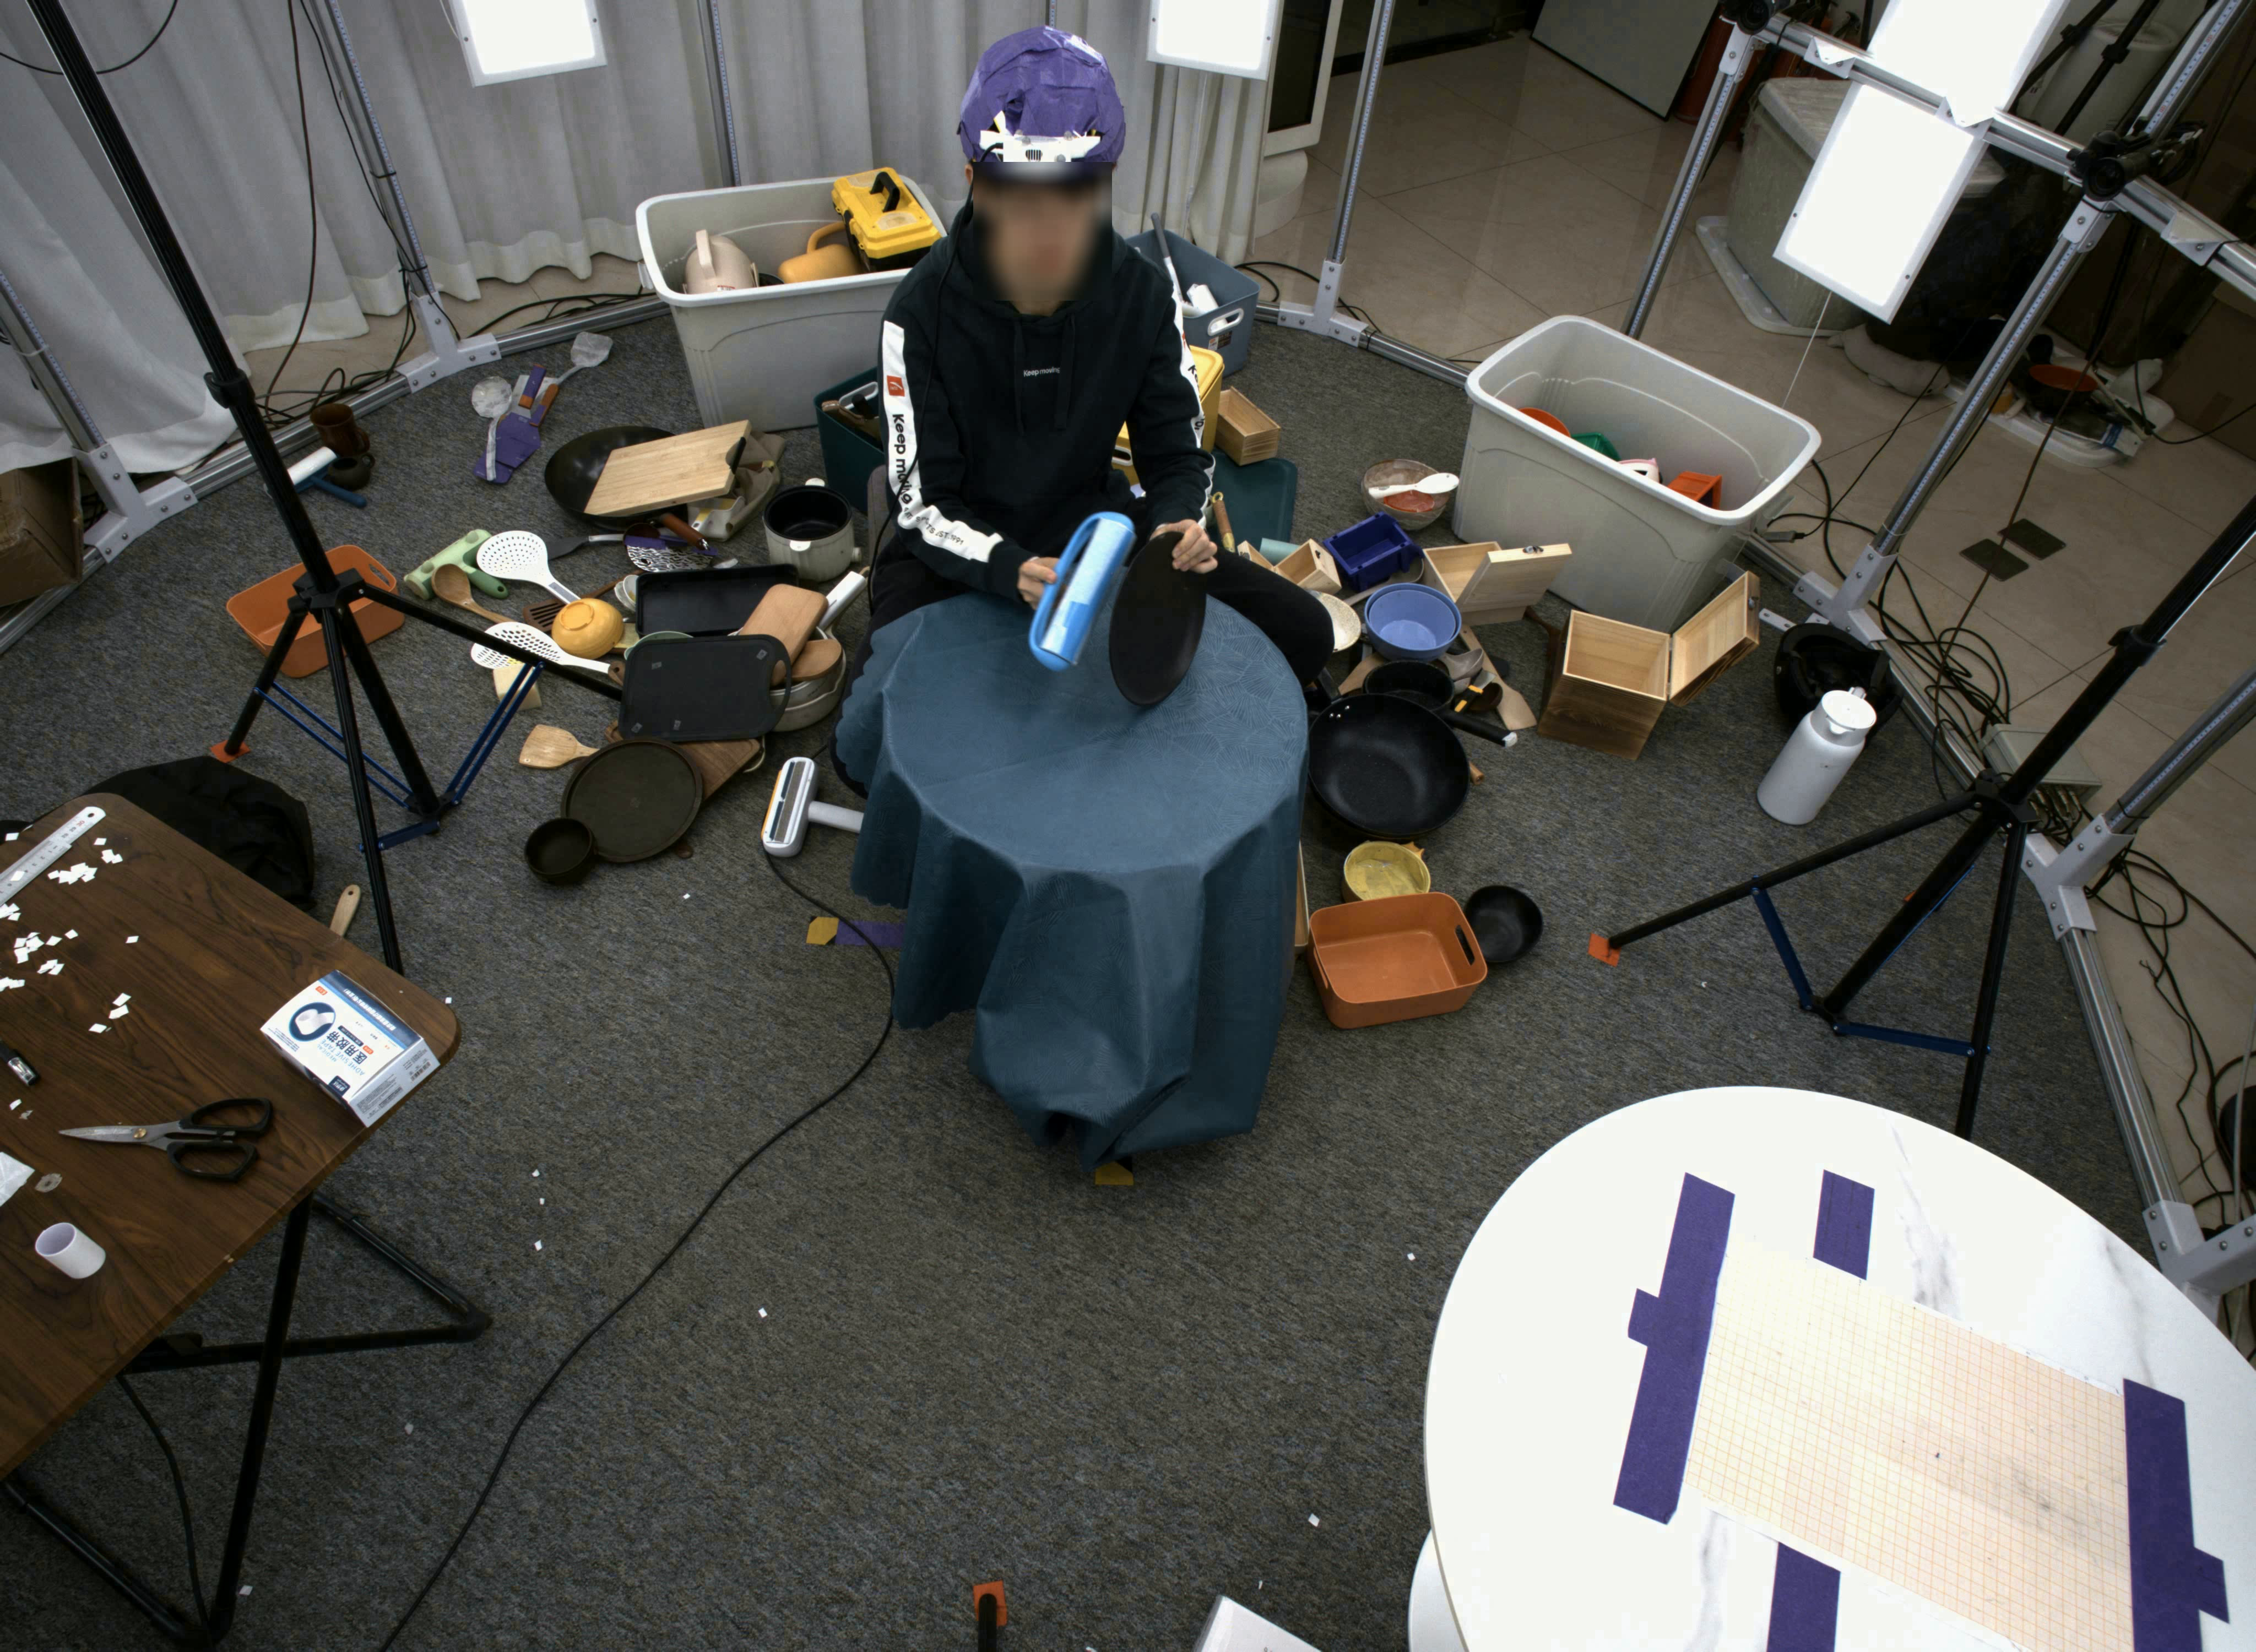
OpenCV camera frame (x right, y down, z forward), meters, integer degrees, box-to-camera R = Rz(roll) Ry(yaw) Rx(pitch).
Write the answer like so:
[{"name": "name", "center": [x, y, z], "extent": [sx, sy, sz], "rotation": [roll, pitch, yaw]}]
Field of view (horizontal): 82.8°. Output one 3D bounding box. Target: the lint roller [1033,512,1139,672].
[{"name": "lint roller", "center": [-0.078, -0.322, 1.770], "extent": [0.067, 0.182, 0.230], "rotation": [26, 85, -29]}]

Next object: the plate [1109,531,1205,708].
[{"name": "plate", "center": [0.036, -0.285, 1.770], "extent": [0.023, 0.238, 0.248], "rotation": [15, 48, 30]}]
